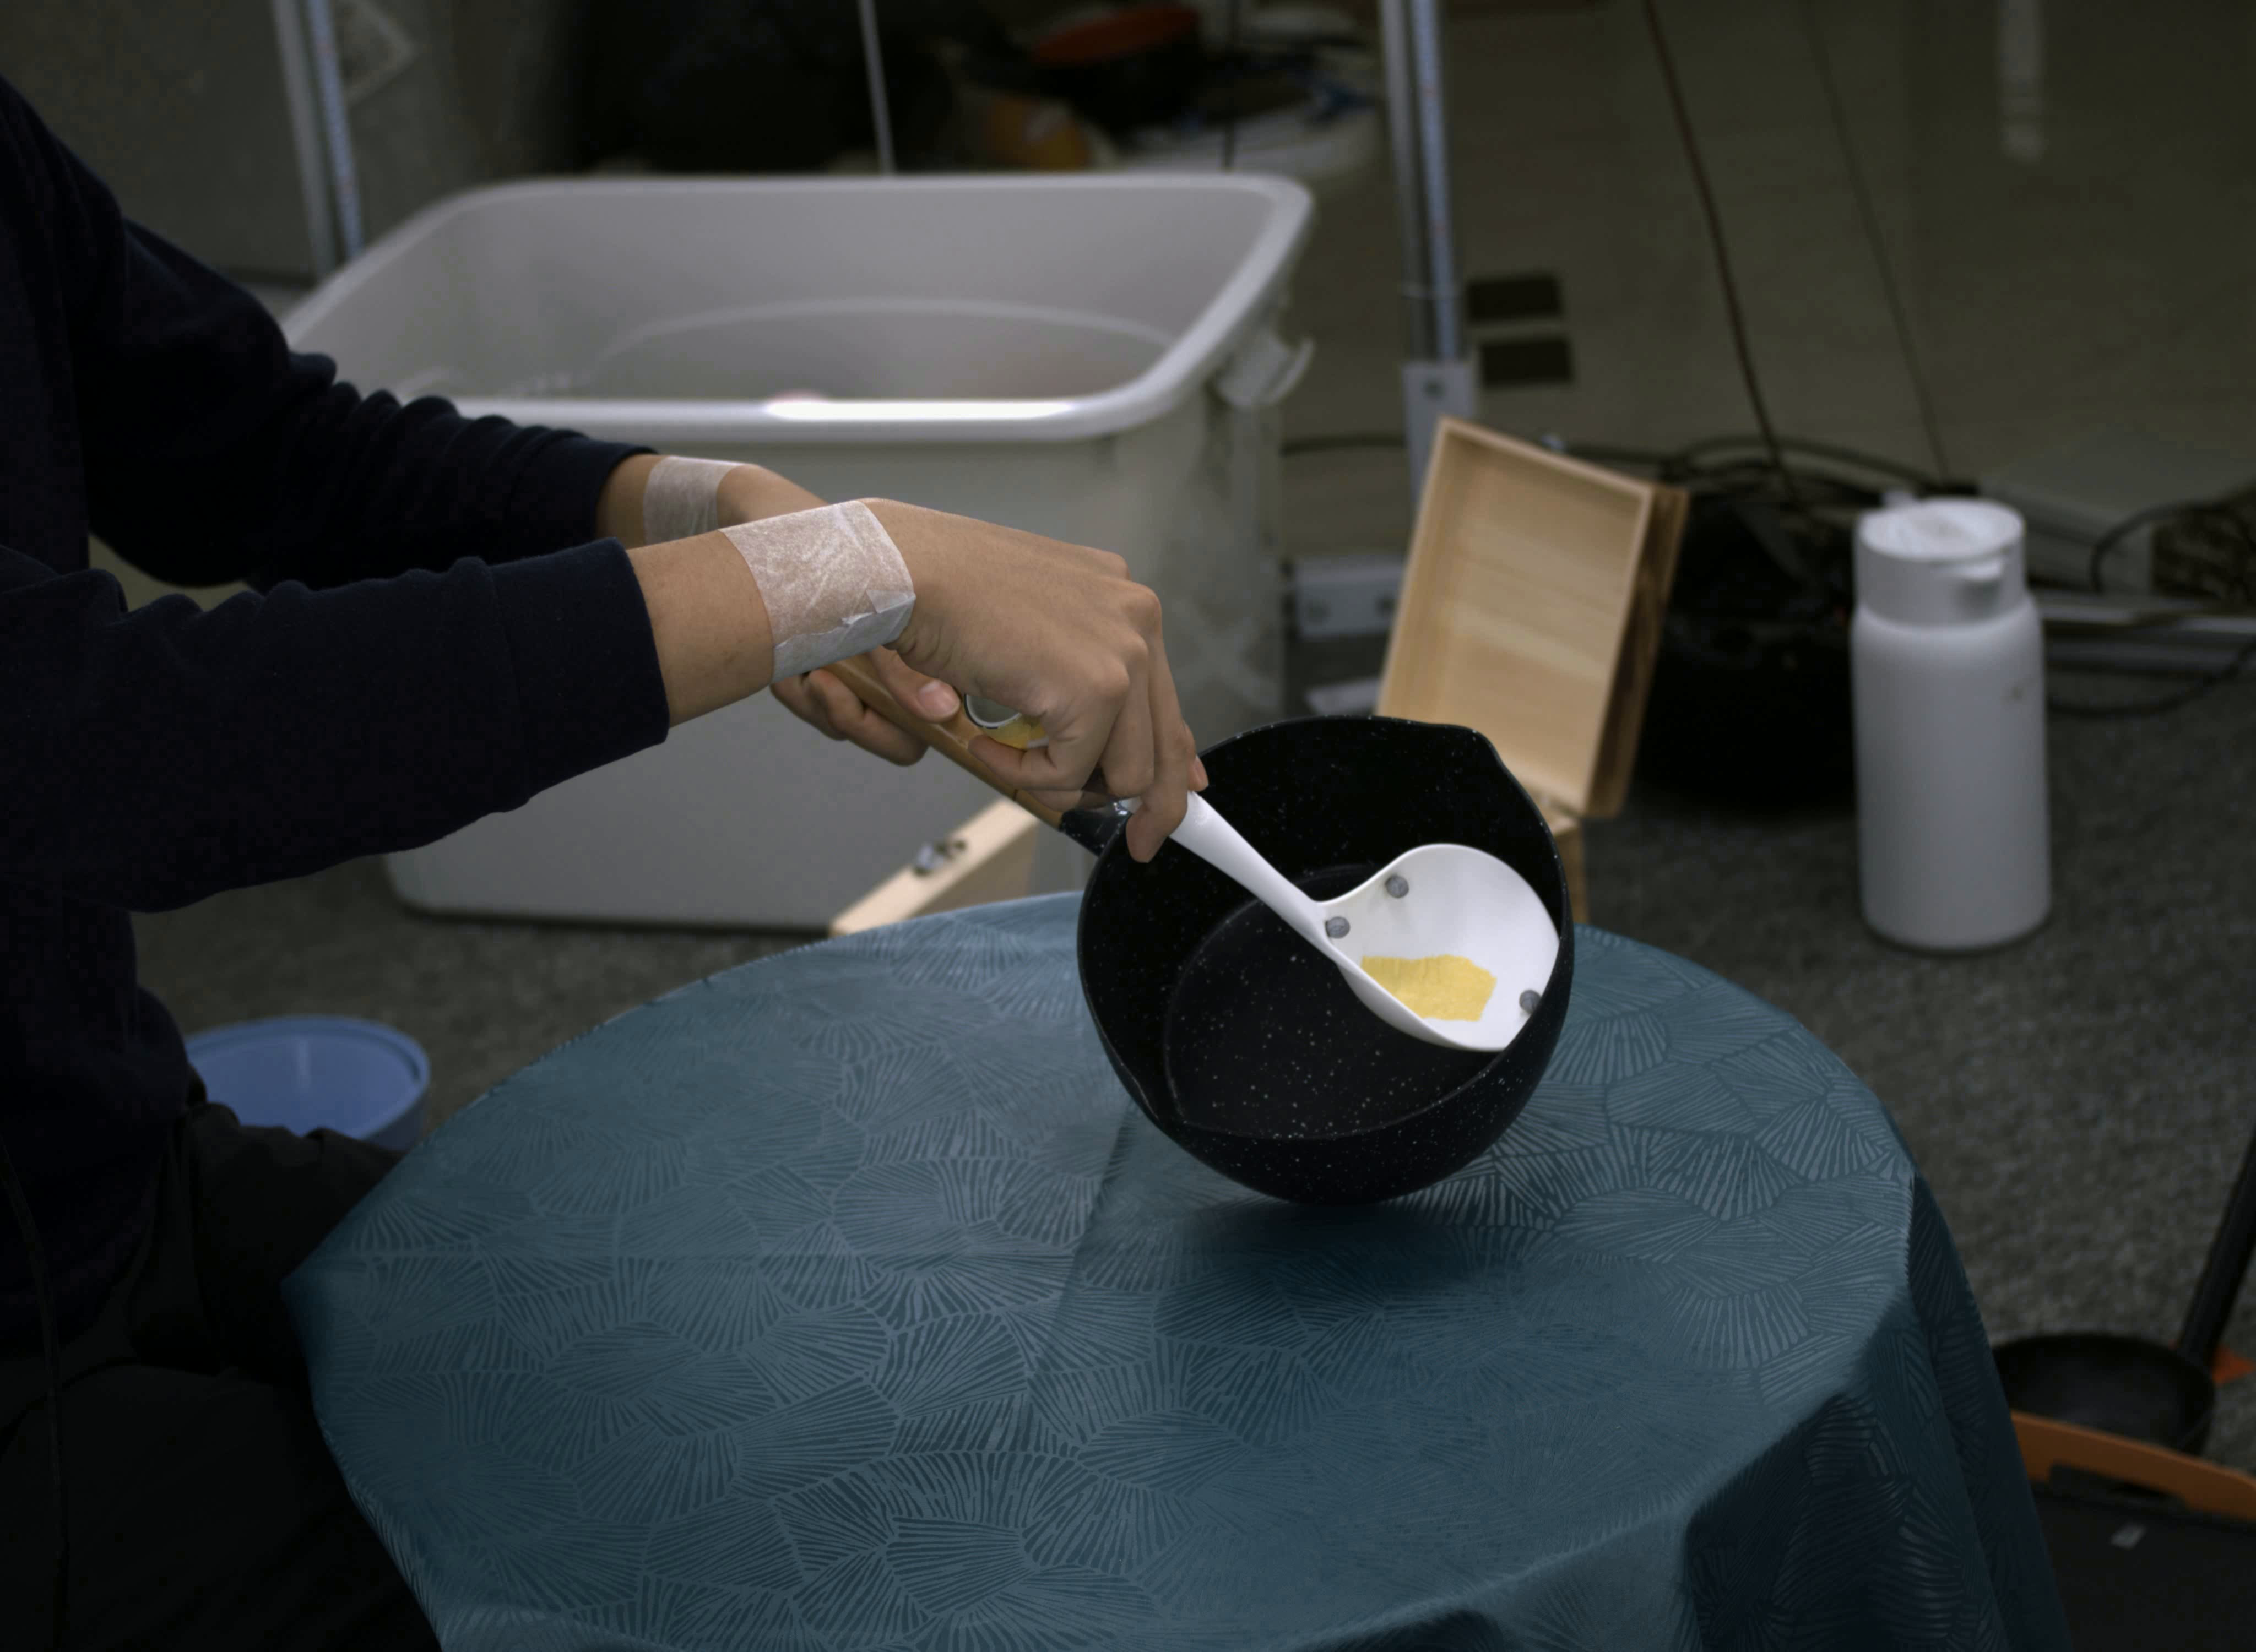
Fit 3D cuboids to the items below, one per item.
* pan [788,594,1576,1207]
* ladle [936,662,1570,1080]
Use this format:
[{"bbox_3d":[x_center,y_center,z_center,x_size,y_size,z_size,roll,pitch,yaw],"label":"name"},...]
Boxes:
[{"bbox_3d":[0.013,0.018,2.149,0.340,0.110,0.206,28,69,24],"label":"pan"},{"bbox_3d":[0.049,0.010,2.004,0.070,0.296,0.089,-16,58,33],"label":"ladle"}]
